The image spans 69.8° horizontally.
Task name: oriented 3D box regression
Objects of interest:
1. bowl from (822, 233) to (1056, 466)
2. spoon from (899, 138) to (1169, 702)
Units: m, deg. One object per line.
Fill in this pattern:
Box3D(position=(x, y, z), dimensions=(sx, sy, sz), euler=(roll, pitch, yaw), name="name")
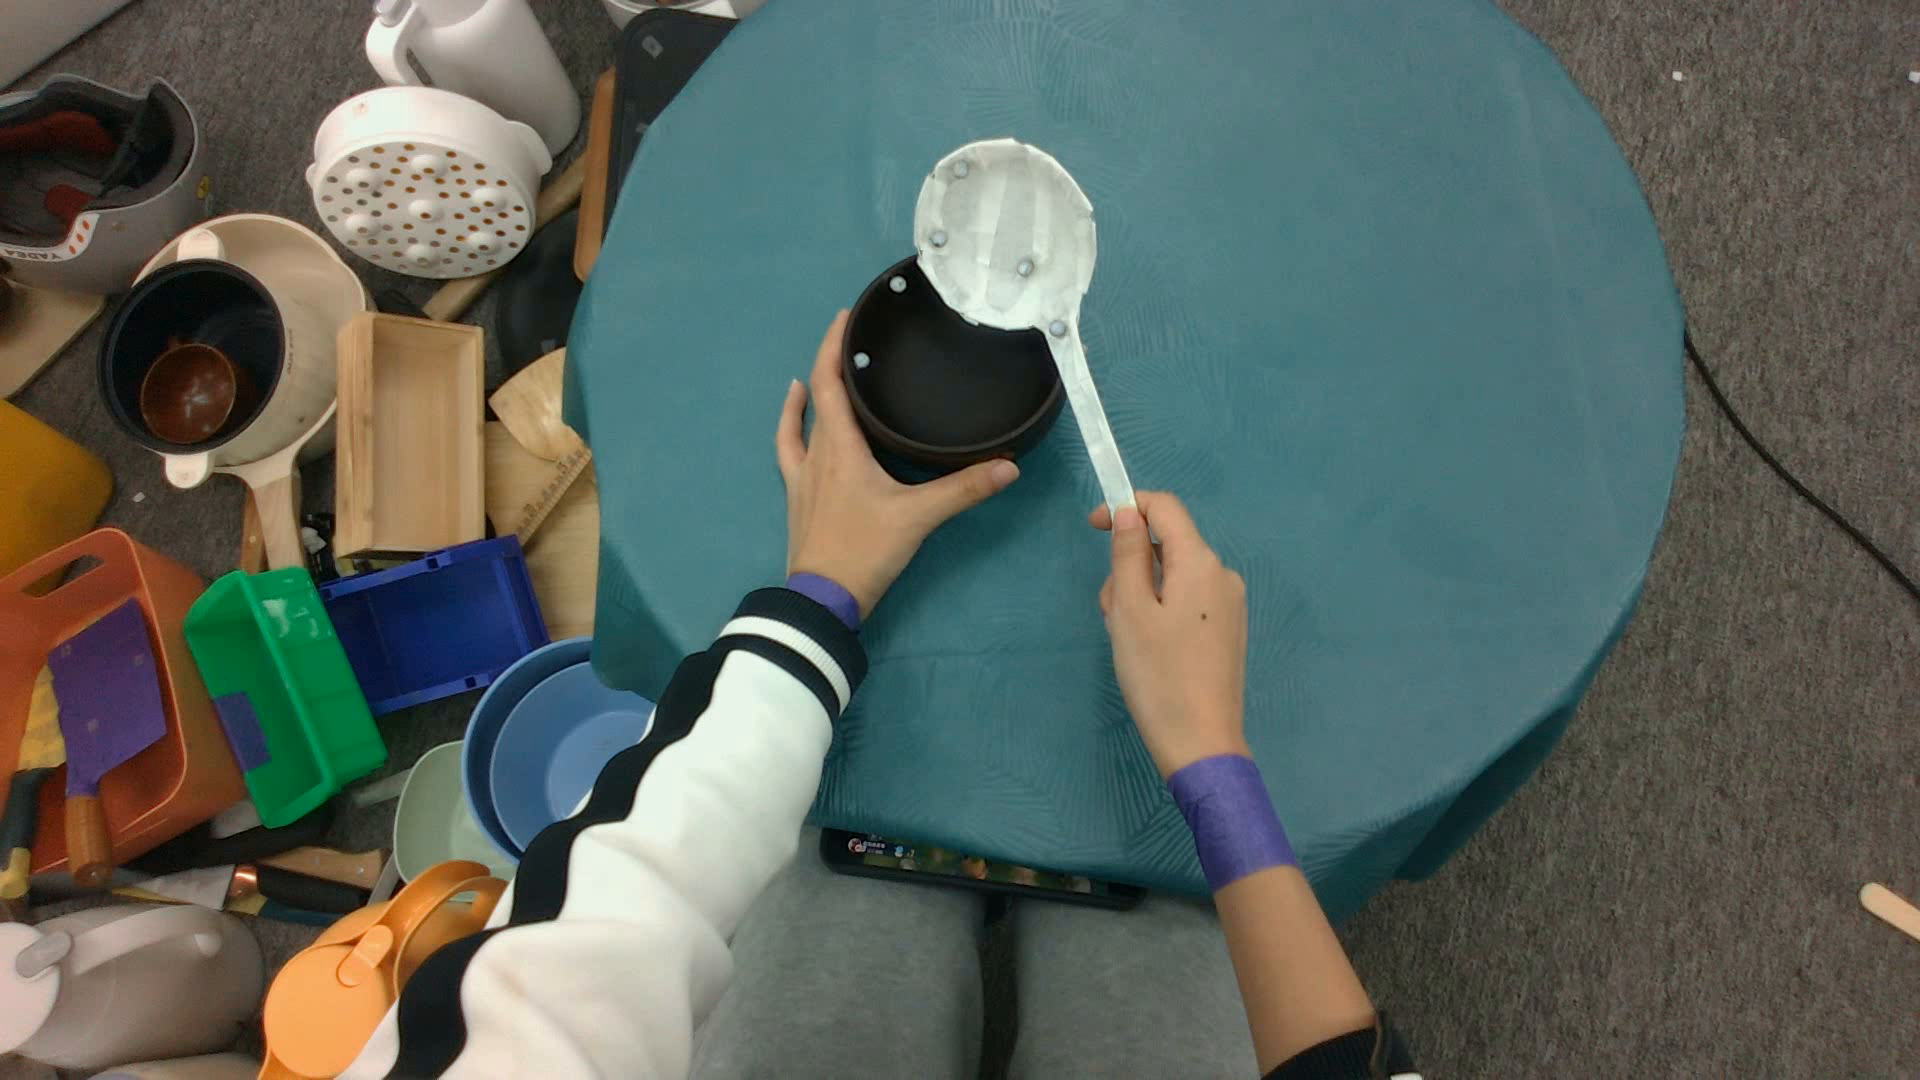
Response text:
Box3D(position=(-0.009, -0.092, 0.714), dimensions=(0.118, 0.069, 0.118), euler=(-1, 73, 2), name="bowl")
Box3D(position=(0.036, -0.054, 0.651), dimensions=(0.100, 0.059, 0.278), euler=(-24, 76, 38), name="spoon")
